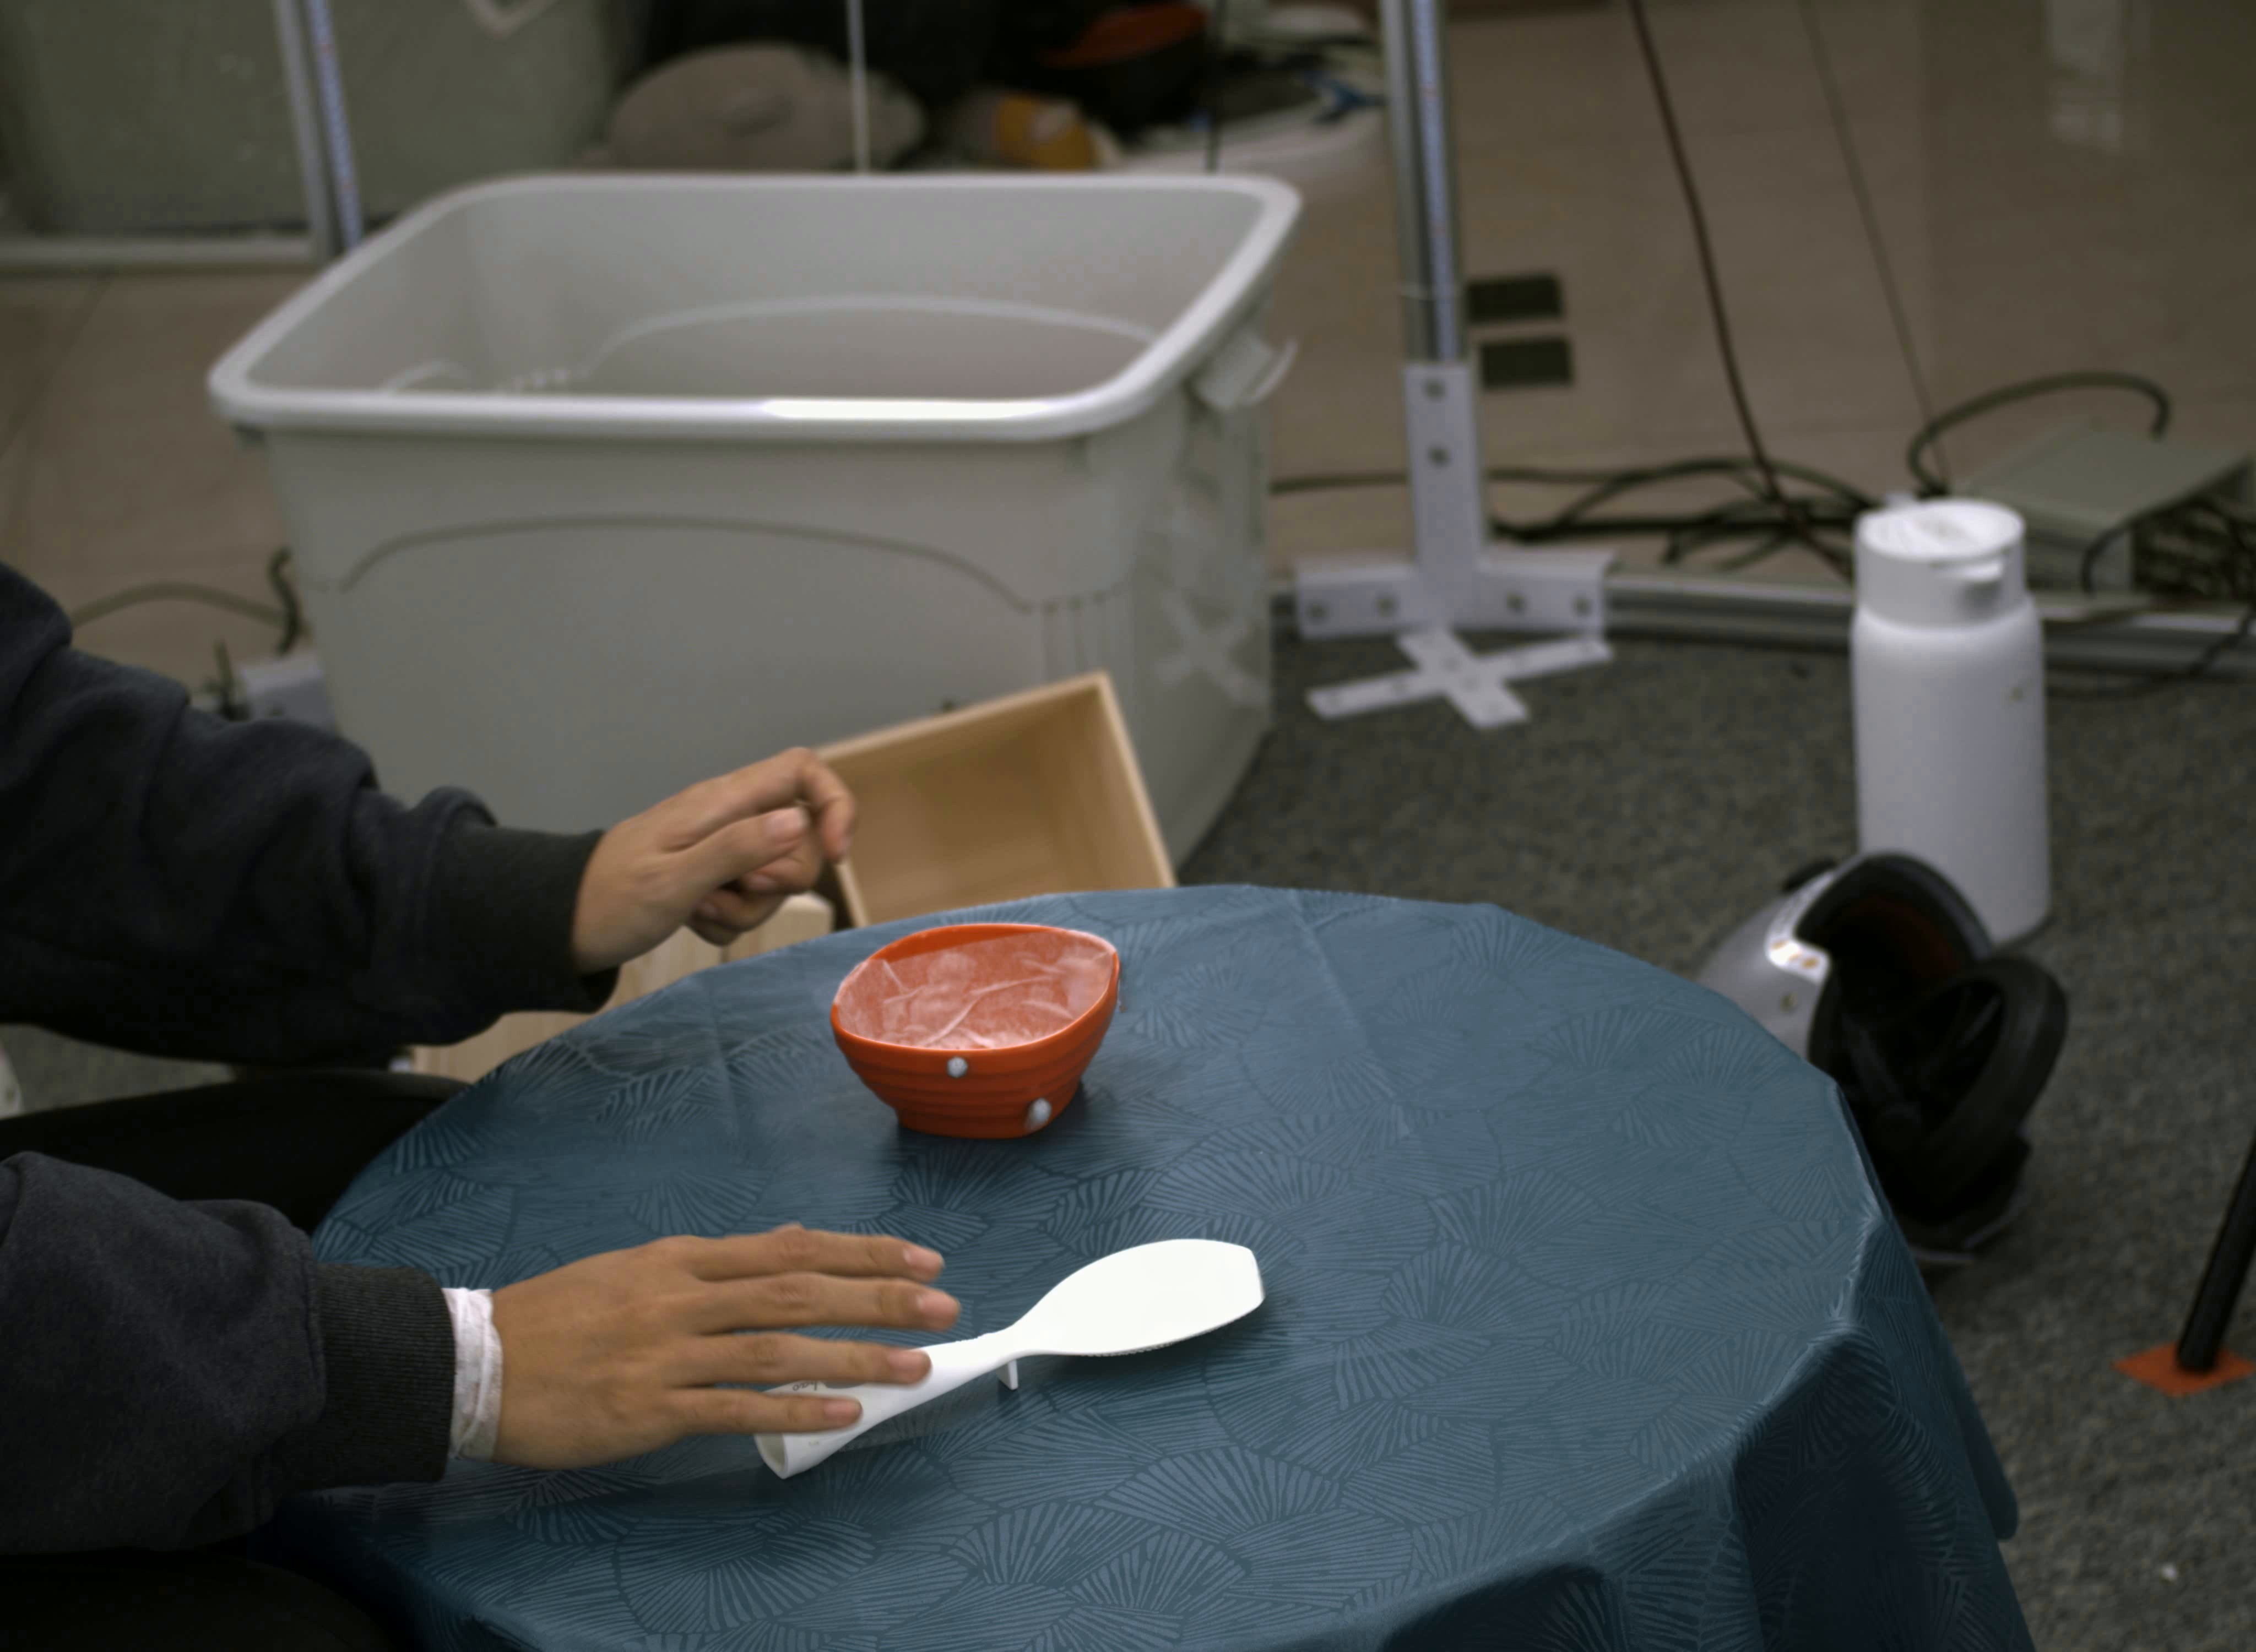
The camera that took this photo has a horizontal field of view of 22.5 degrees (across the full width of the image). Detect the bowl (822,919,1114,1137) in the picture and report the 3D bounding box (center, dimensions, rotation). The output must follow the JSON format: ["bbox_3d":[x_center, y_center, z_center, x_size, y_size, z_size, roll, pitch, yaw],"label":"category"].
[{"bbox_3d":[-0.060,0.083,2.212,0.119,0.052,0.117,-6,27,3],"label":"bowl"}]

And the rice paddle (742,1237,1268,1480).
[{"bbox_3d":[-0.041,0.184,2.024,0.204,0.030,0.068,-19,29,-24],"label":"rice paddle"}]
